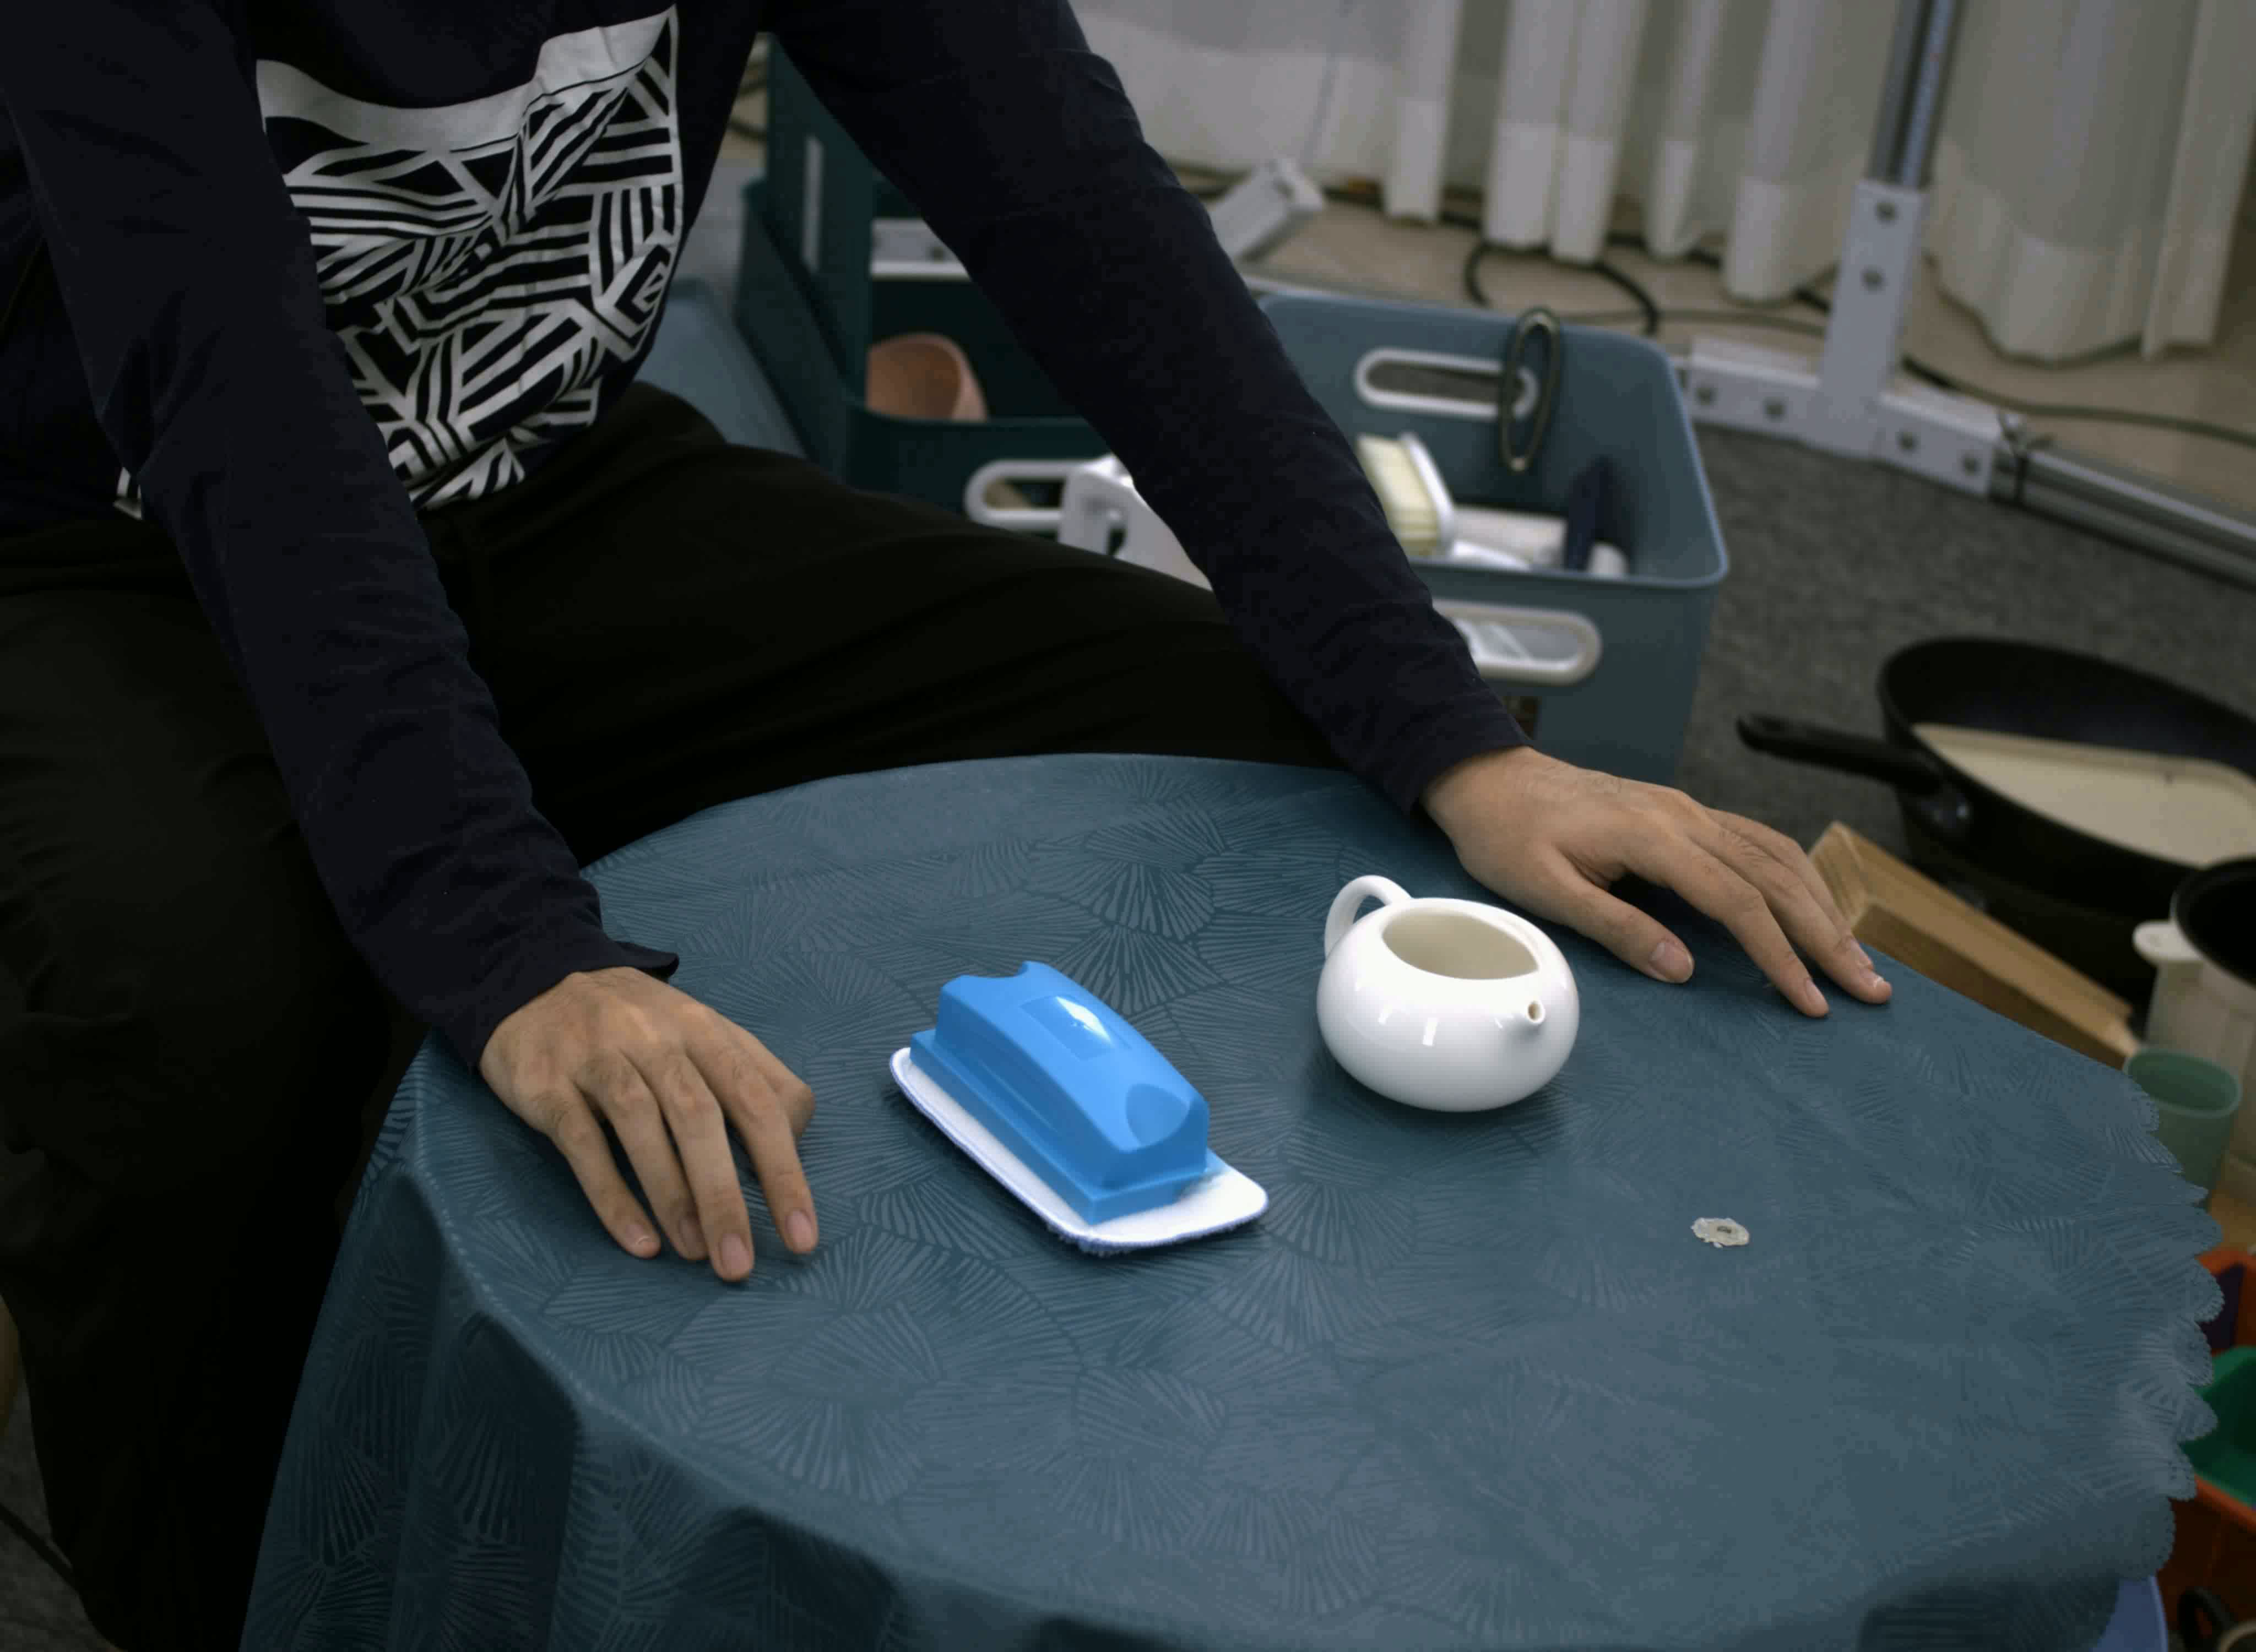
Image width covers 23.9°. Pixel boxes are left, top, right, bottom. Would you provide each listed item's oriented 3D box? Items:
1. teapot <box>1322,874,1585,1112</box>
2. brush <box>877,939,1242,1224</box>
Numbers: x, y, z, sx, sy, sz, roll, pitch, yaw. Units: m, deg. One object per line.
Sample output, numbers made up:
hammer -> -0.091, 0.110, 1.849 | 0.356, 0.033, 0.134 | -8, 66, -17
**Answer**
teapot -> 0.109, 0.059, 1.897 | 0.093, 0.056, 0.128 | -16, 34, -32
brush -> -0.021, 0.083, 1.815 | 0.083, 0.056, 0.145 | -6, 31, -31
